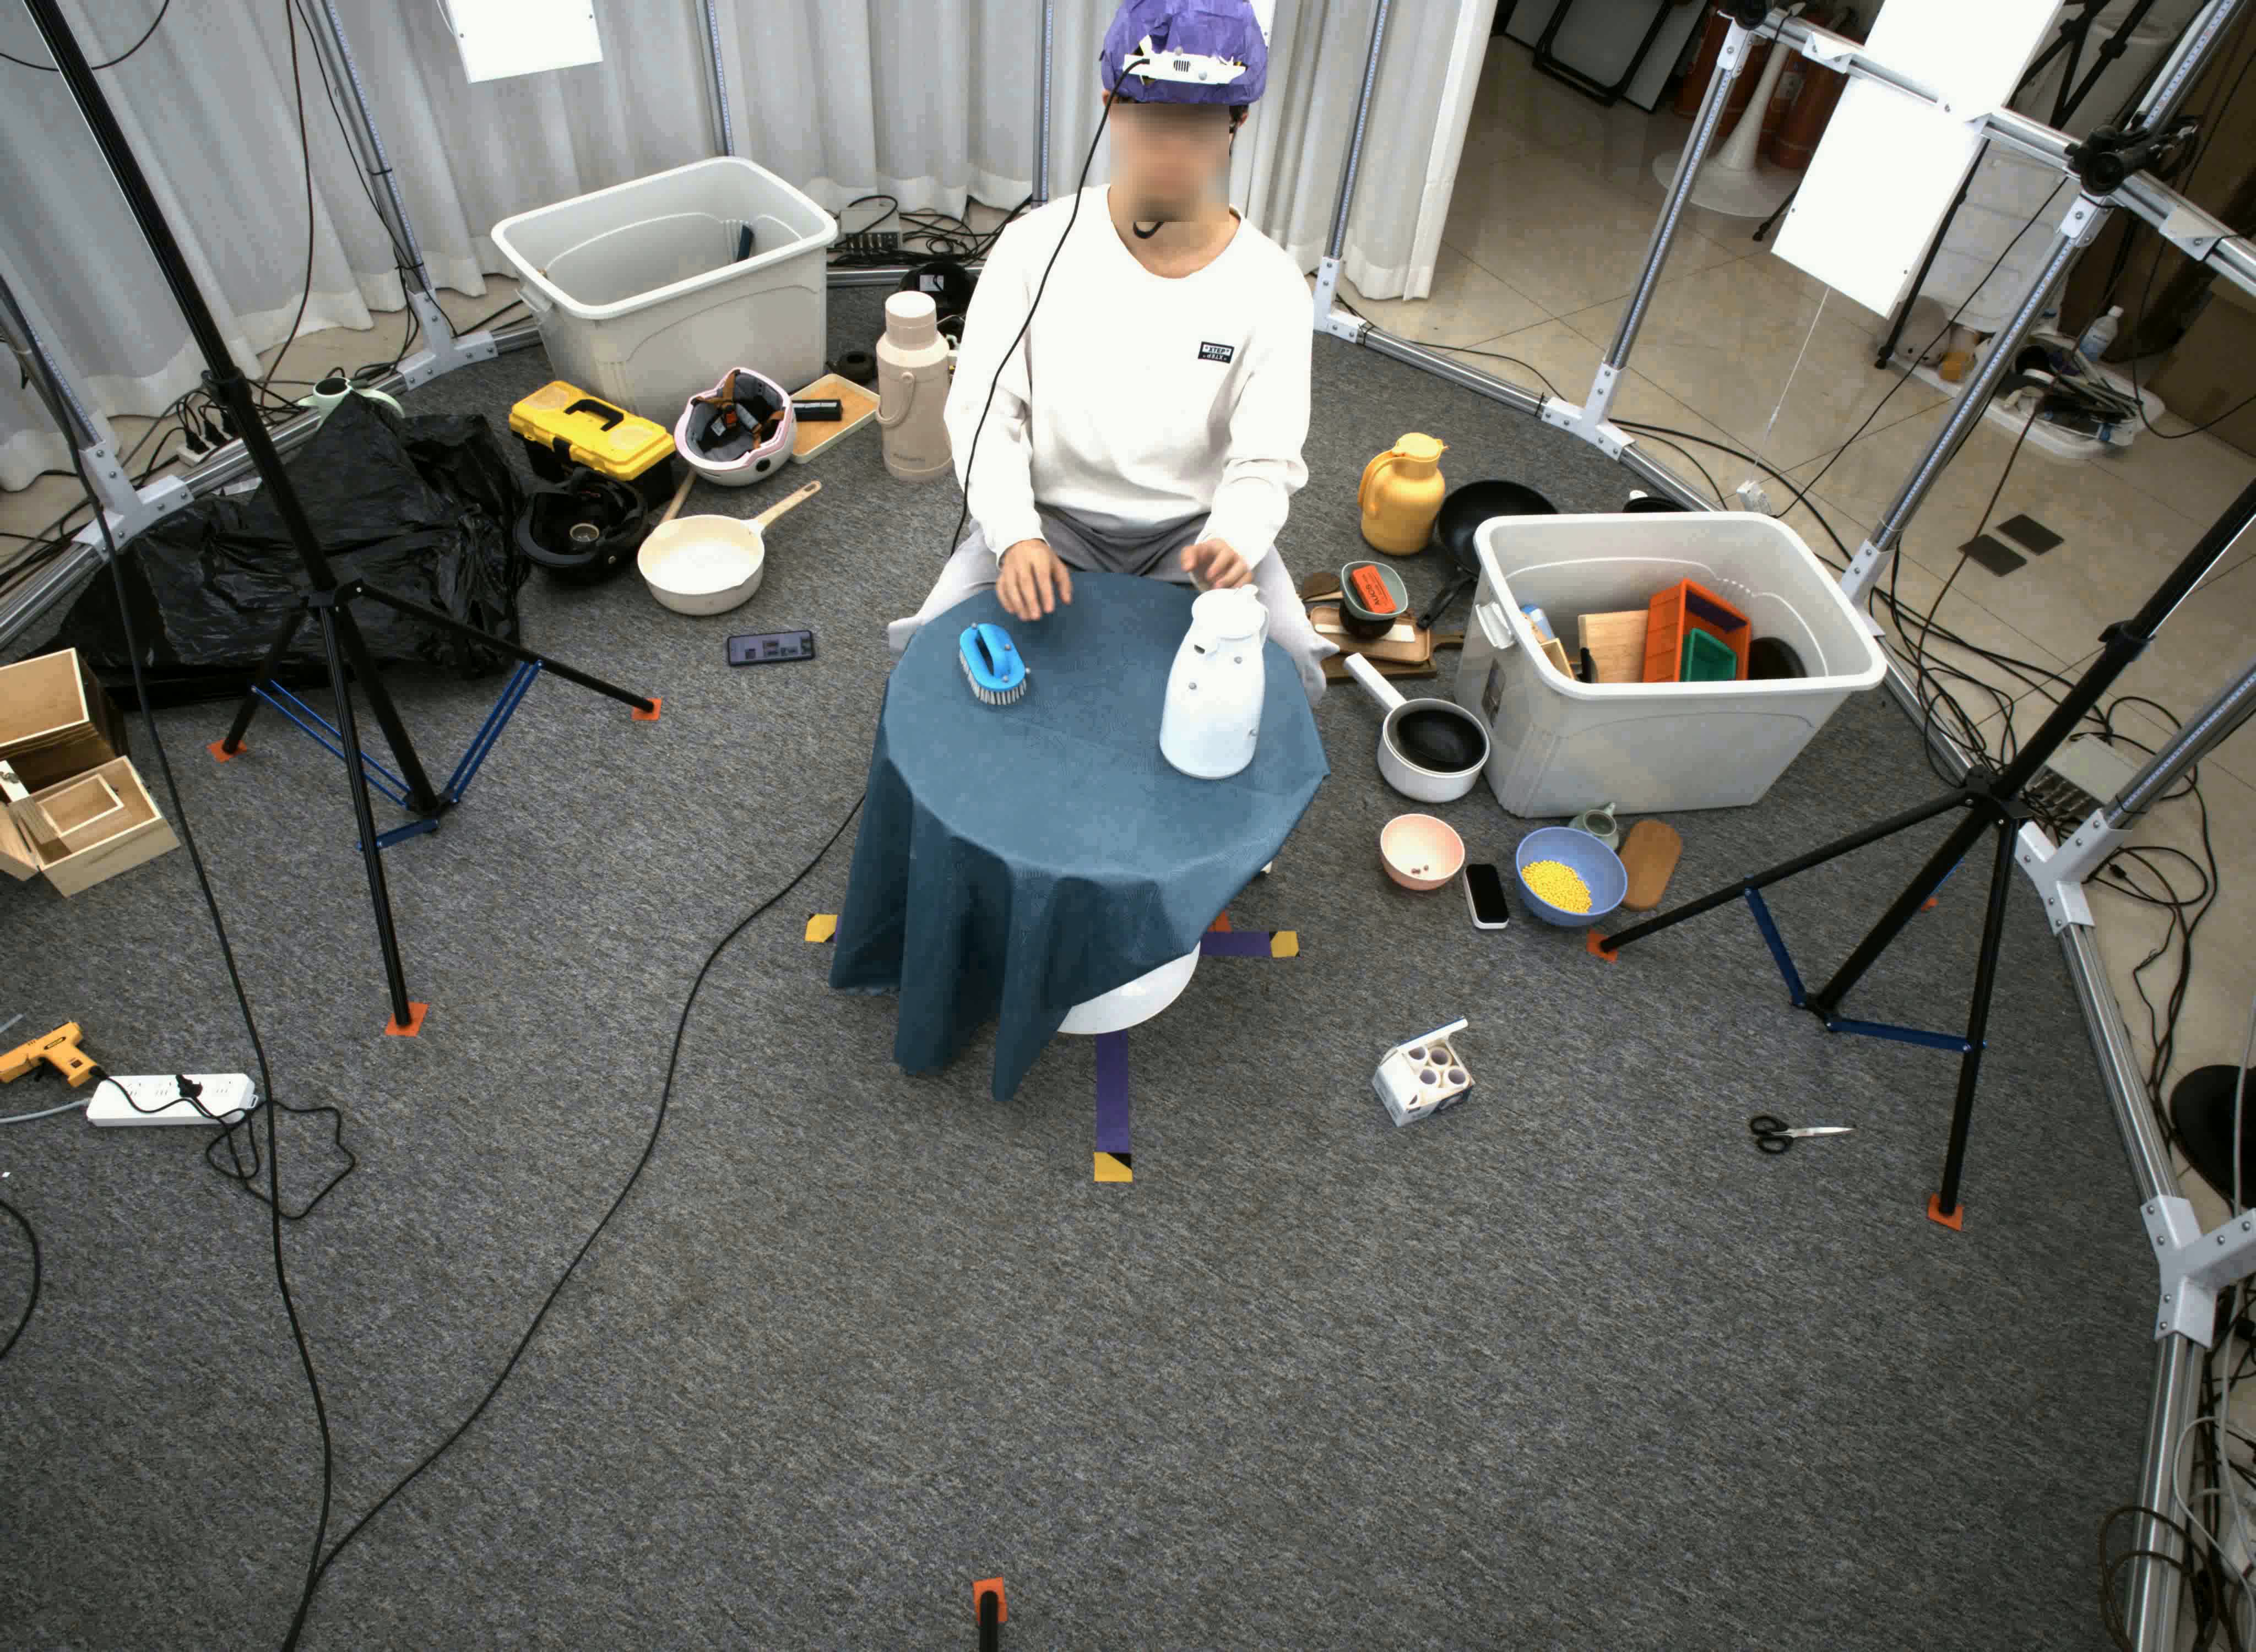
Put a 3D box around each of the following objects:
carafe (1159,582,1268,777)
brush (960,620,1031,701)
[{"bbox_3d":[0.126,-0.206,1.691,0.134,0.242,0.170,29,52,19],"label":"carafe"},{"bbox_3d":[-0.190,-0.245,1.821,0.084,0.062,0.145,-15,51,-12],"label":"brush"}]
